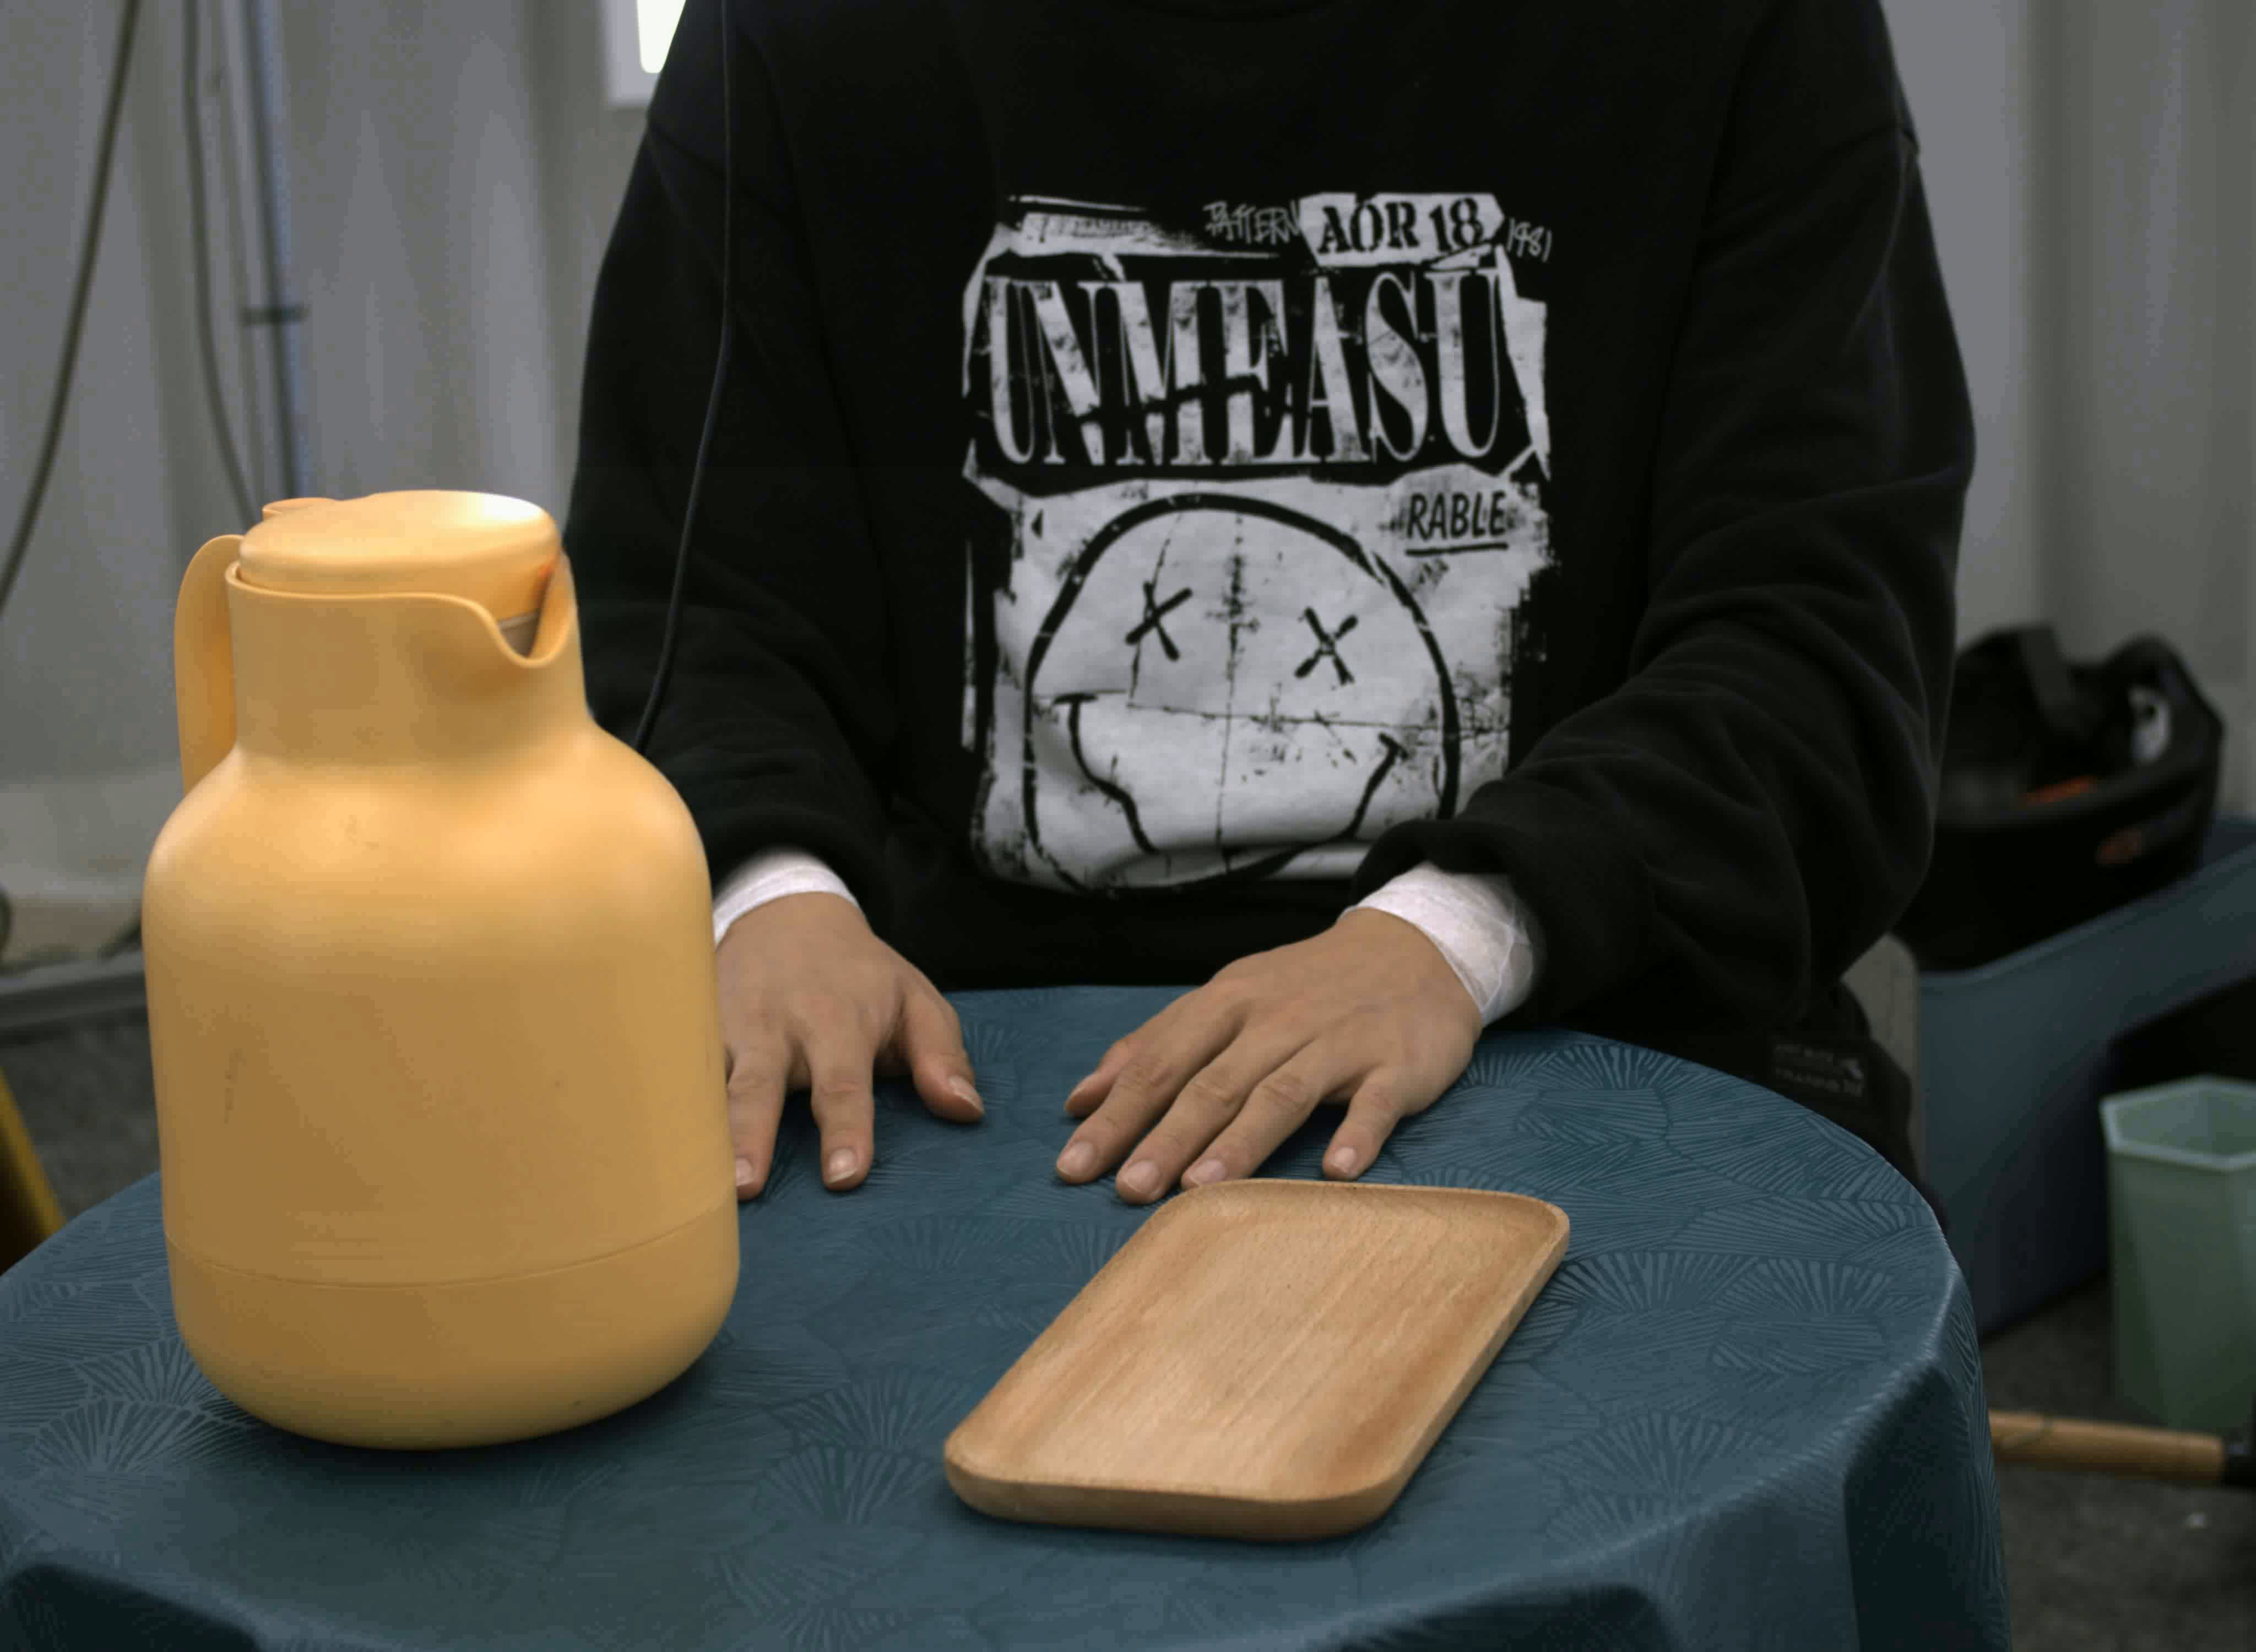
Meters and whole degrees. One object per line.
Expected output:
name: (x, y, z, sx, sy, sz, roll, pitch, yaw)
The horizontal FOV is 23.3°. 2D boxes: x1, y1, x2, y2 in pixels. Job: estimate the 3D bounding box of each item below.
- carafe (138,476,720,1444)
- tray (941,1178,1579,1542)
carafe: (-0.208, 0.029, 1.565, 0.163, 0.259, 0.204, -8, 17, -33)
tray: (0.042, 0.148, 1.548, 0.130, 0.023, 0.251, 5, 16, 18)
